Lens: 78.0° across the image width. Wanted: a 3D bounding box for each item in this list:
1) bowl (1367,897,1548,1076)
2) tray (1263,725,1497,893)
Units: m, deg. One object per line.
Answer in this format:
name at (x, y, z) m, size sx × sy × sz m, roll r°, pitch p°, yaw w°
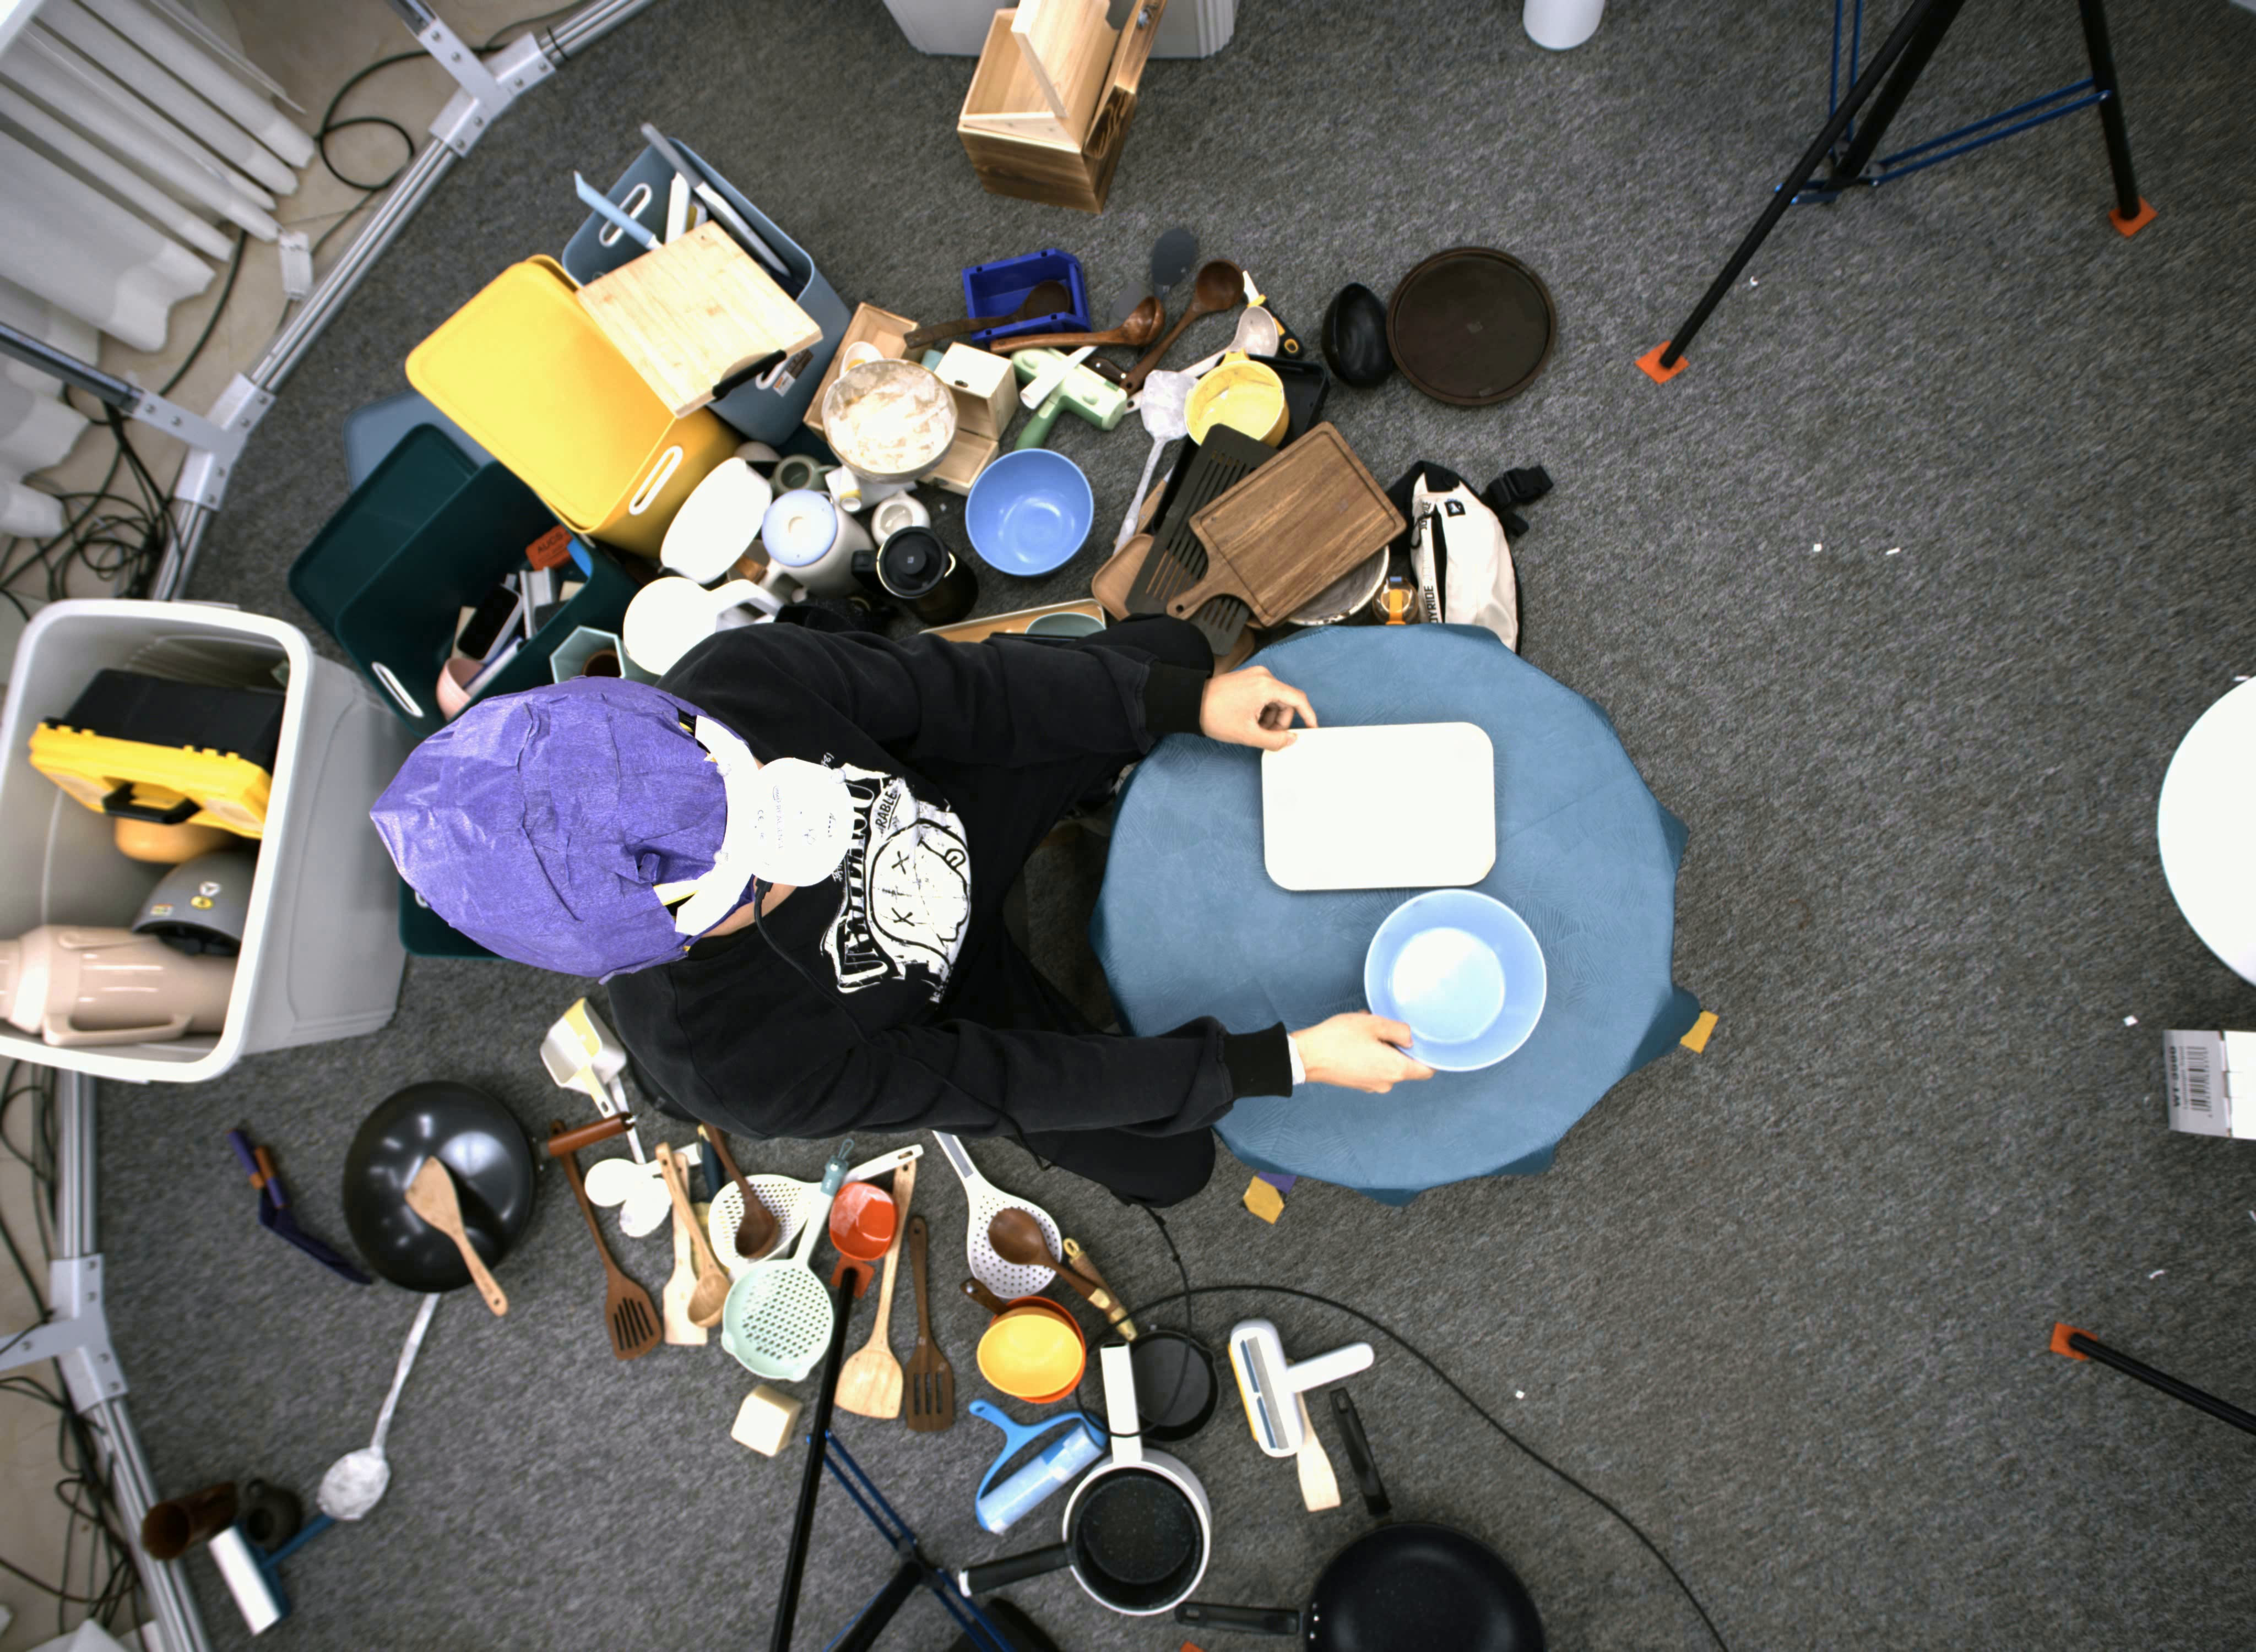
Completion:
bowl at (0.324, 0.161, 1.376) m, size 0.176 × 0.071 × 0.174 m, roll -1°, pitch 78°, yaw 4°
tray at (0.264, -0.019, 1.447) m, size 0.240 × 0.017 × 0.172 m, roll -2°, pitch 96°, yaw 8°
